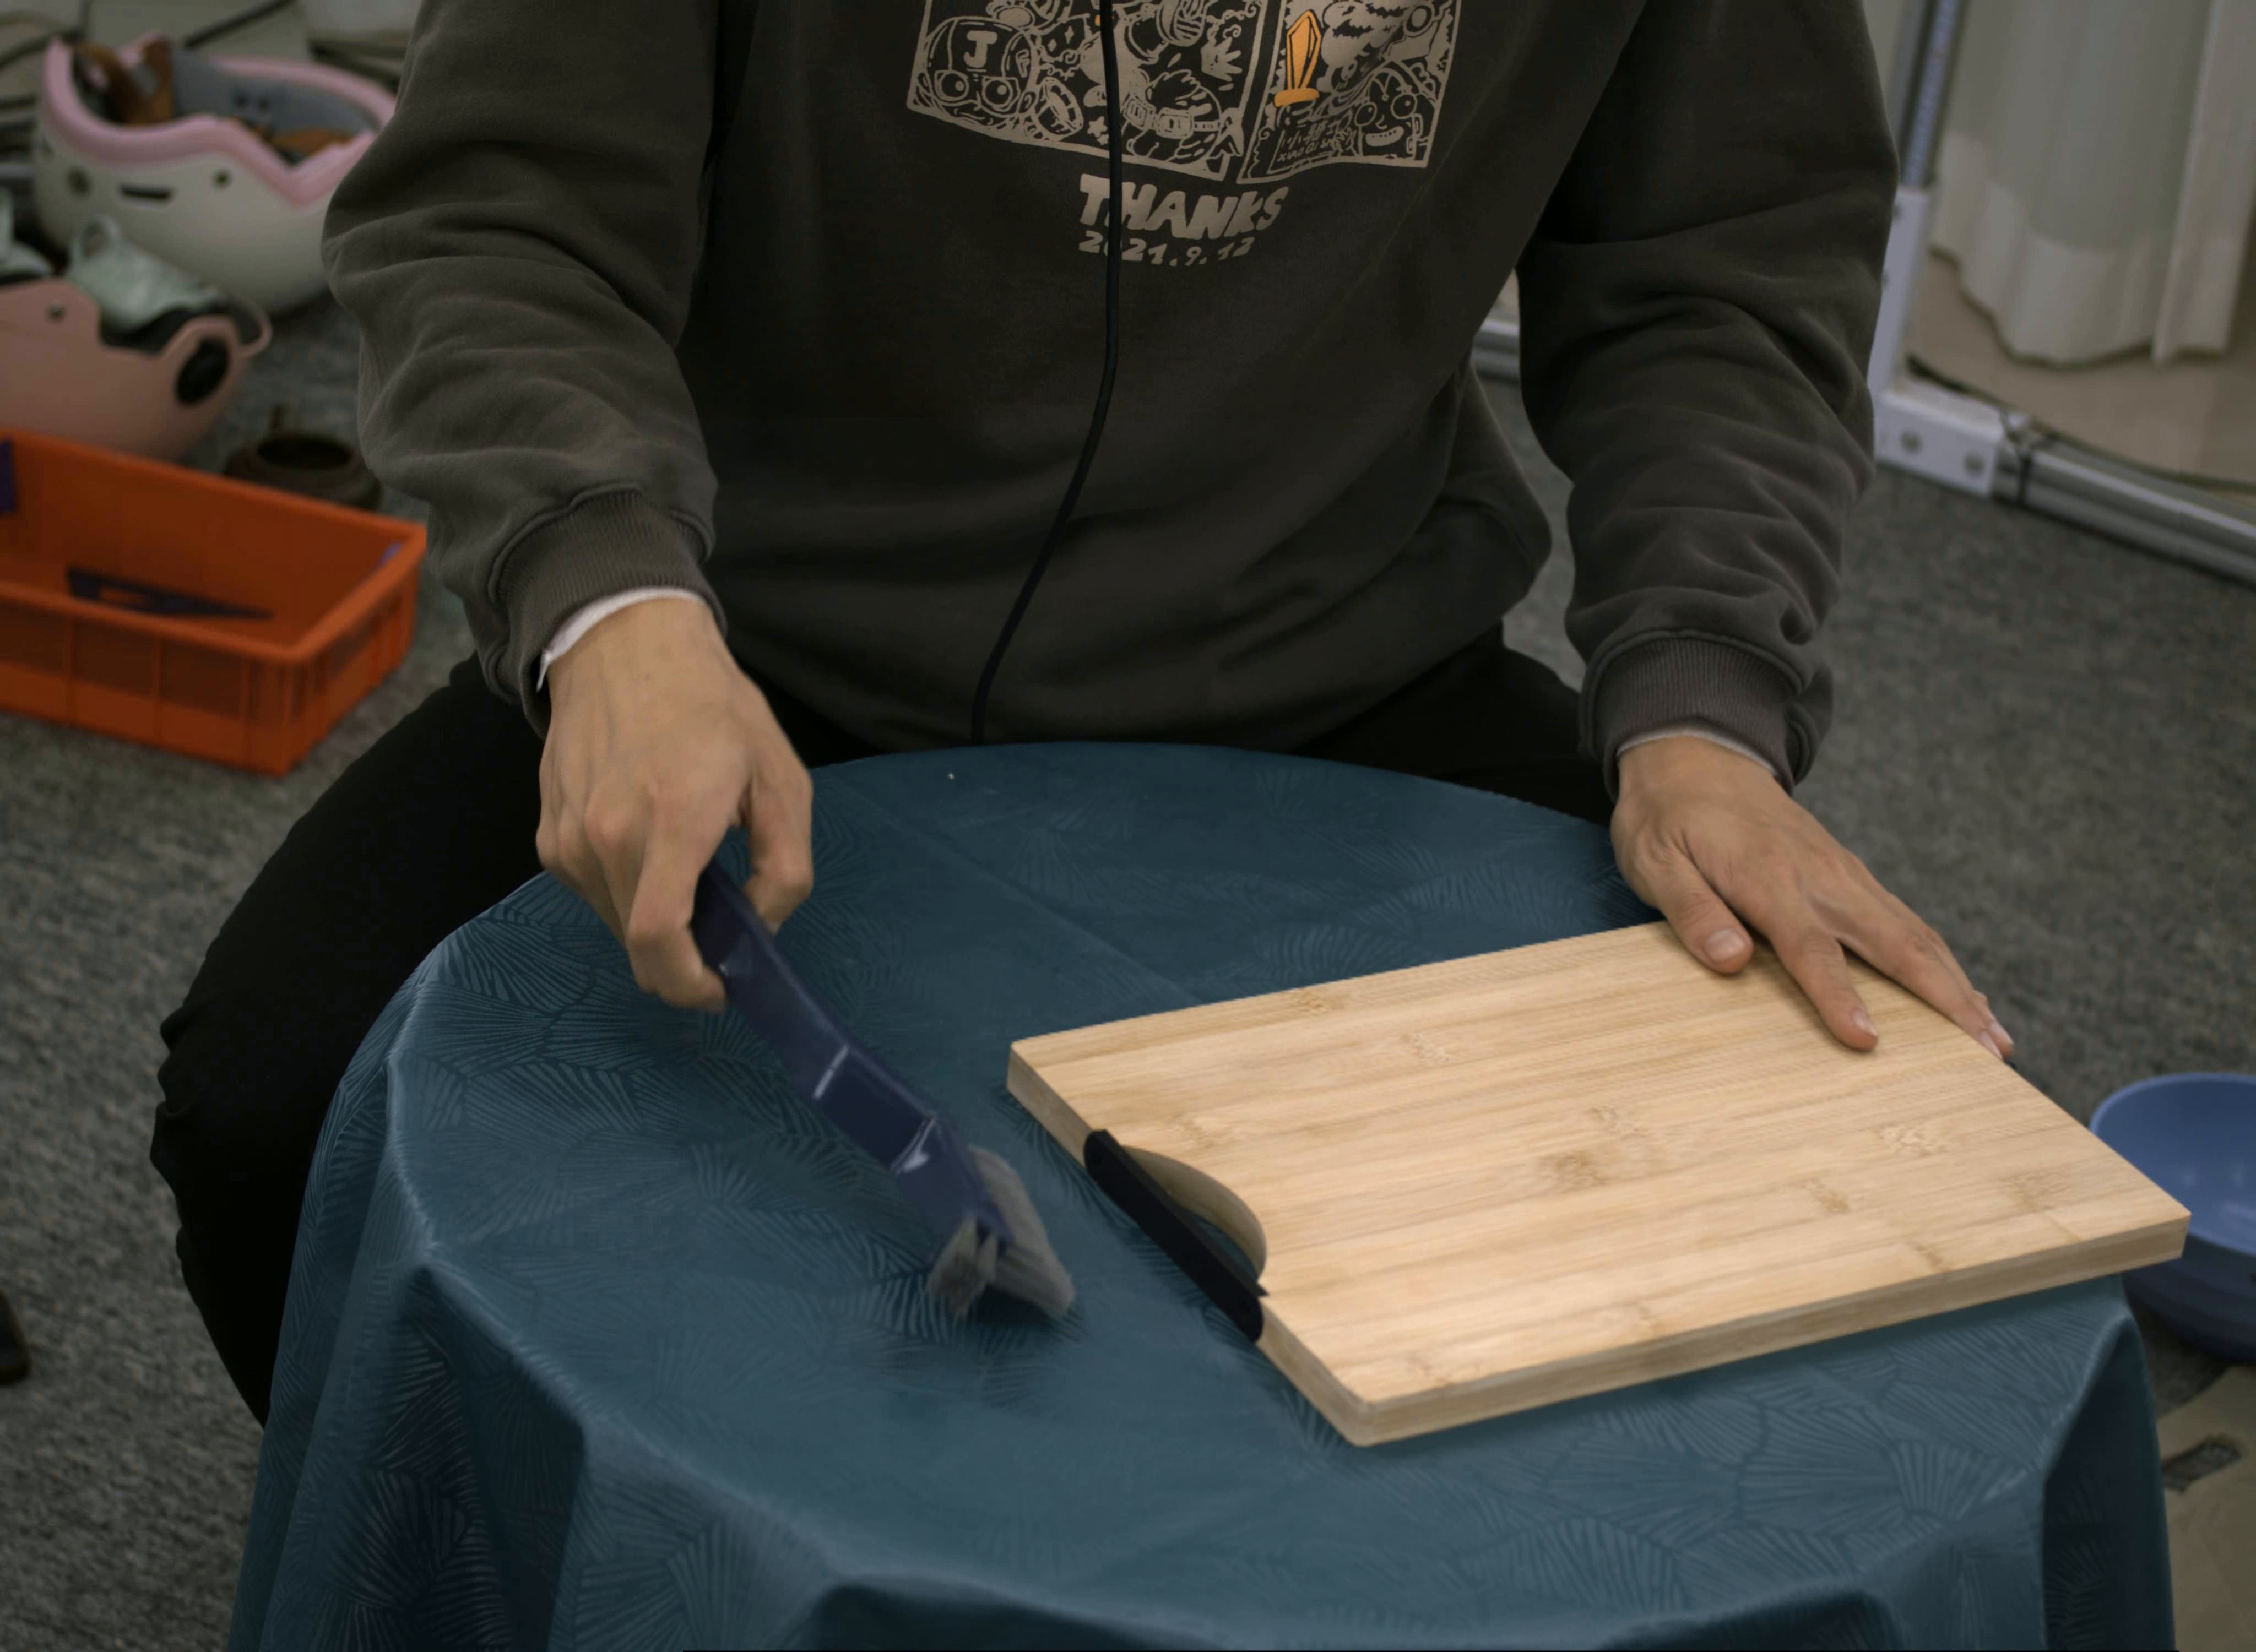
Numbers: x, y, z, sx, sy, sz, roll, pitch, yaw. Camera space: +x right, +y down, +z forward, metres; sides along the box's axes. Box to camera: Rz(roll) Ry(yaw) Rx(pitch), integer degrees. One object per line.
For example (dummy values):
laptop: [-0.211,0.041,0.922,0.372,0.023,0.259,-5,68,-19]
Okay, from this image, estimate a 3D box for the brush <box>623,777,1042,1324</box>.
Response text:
brush: [-0.112,0.072,1.779,0.095,0.033,0.275,11,27,-49]

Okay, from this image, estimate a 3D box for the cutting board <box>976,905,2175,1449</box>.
cutting board: [0.155,0.114,1.840,0.346,0.023,0.253,-9,30,-29]
